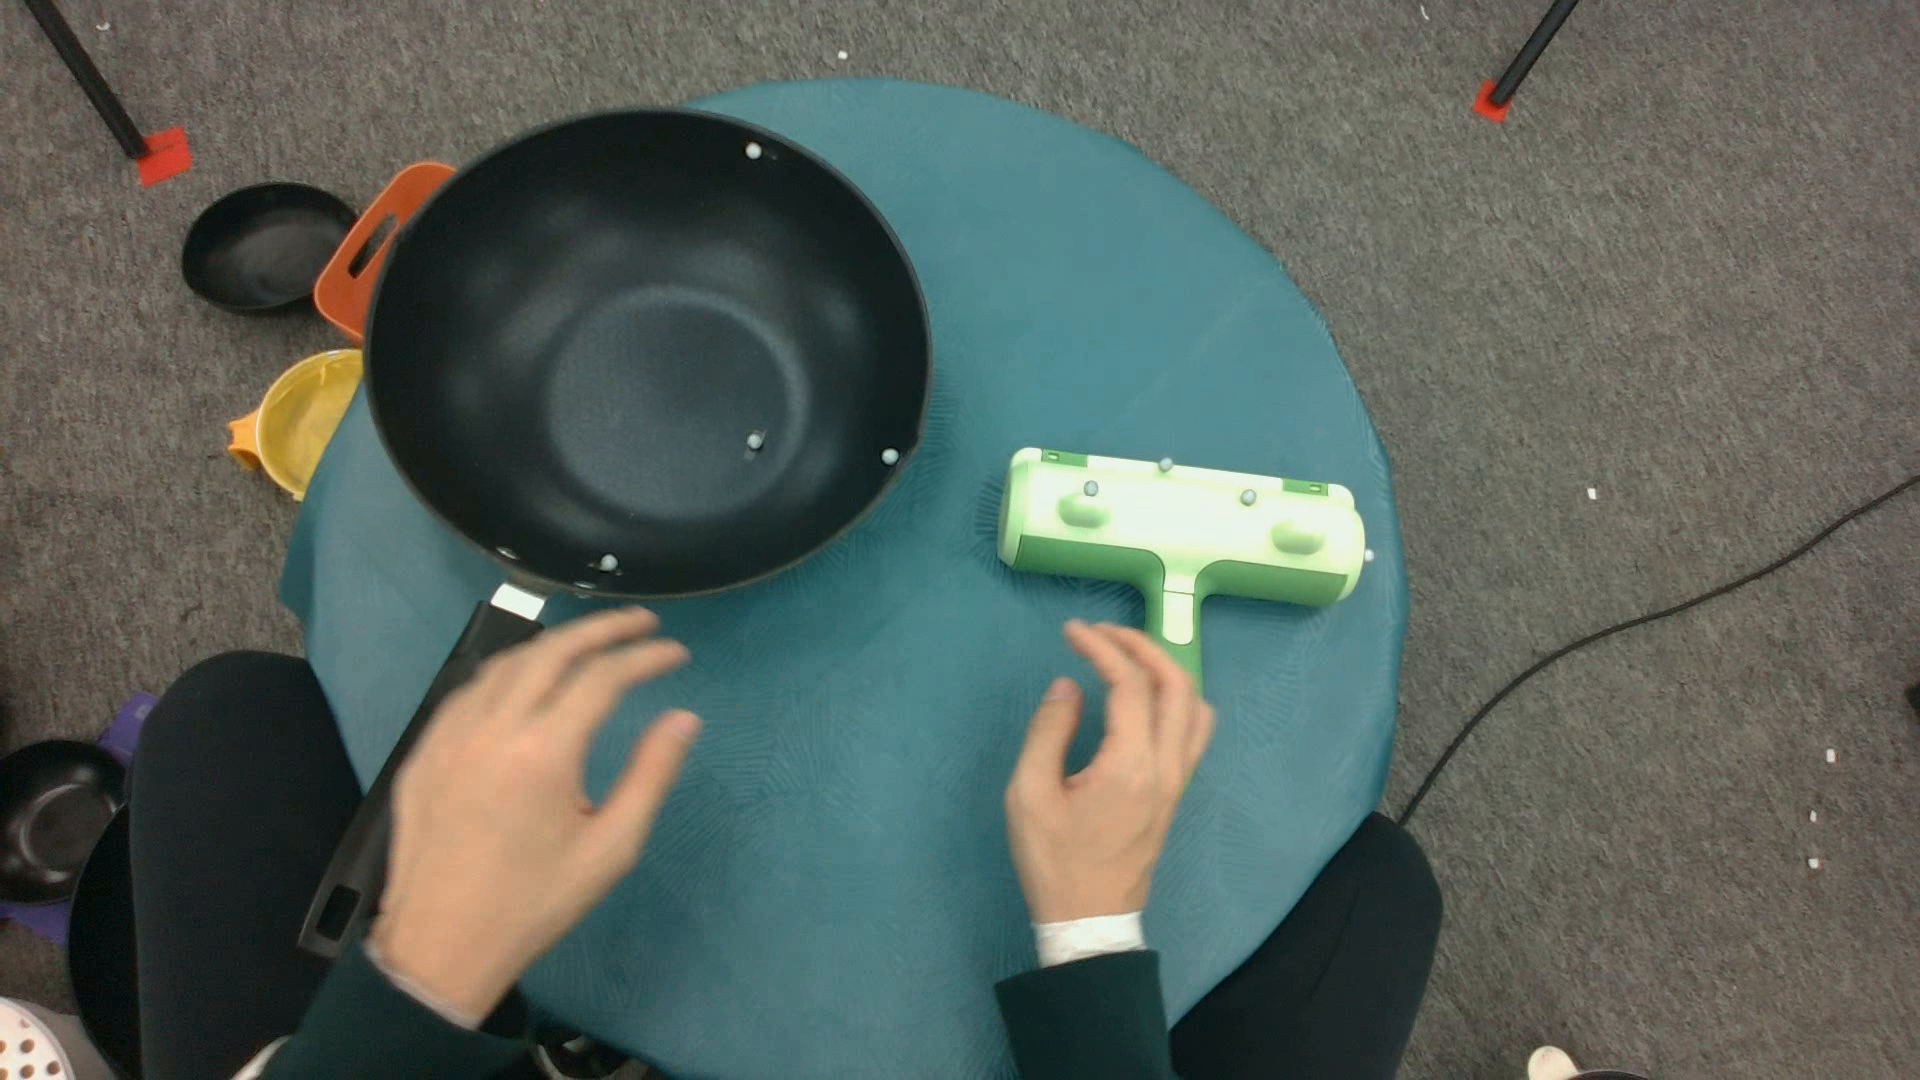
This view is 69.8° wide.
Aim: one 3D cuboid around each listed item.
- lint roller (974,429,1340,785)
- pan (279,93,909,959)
[{"bbox_3d":[0.105,0.032,0.727,0.198,0.082,0.184,6,65,-5],"label":"lint roller"},{"bbox_3d":[-0.201,-0.015,0.700,0.288,0.086,0.465,20,70,1],"label":"pan"}]
